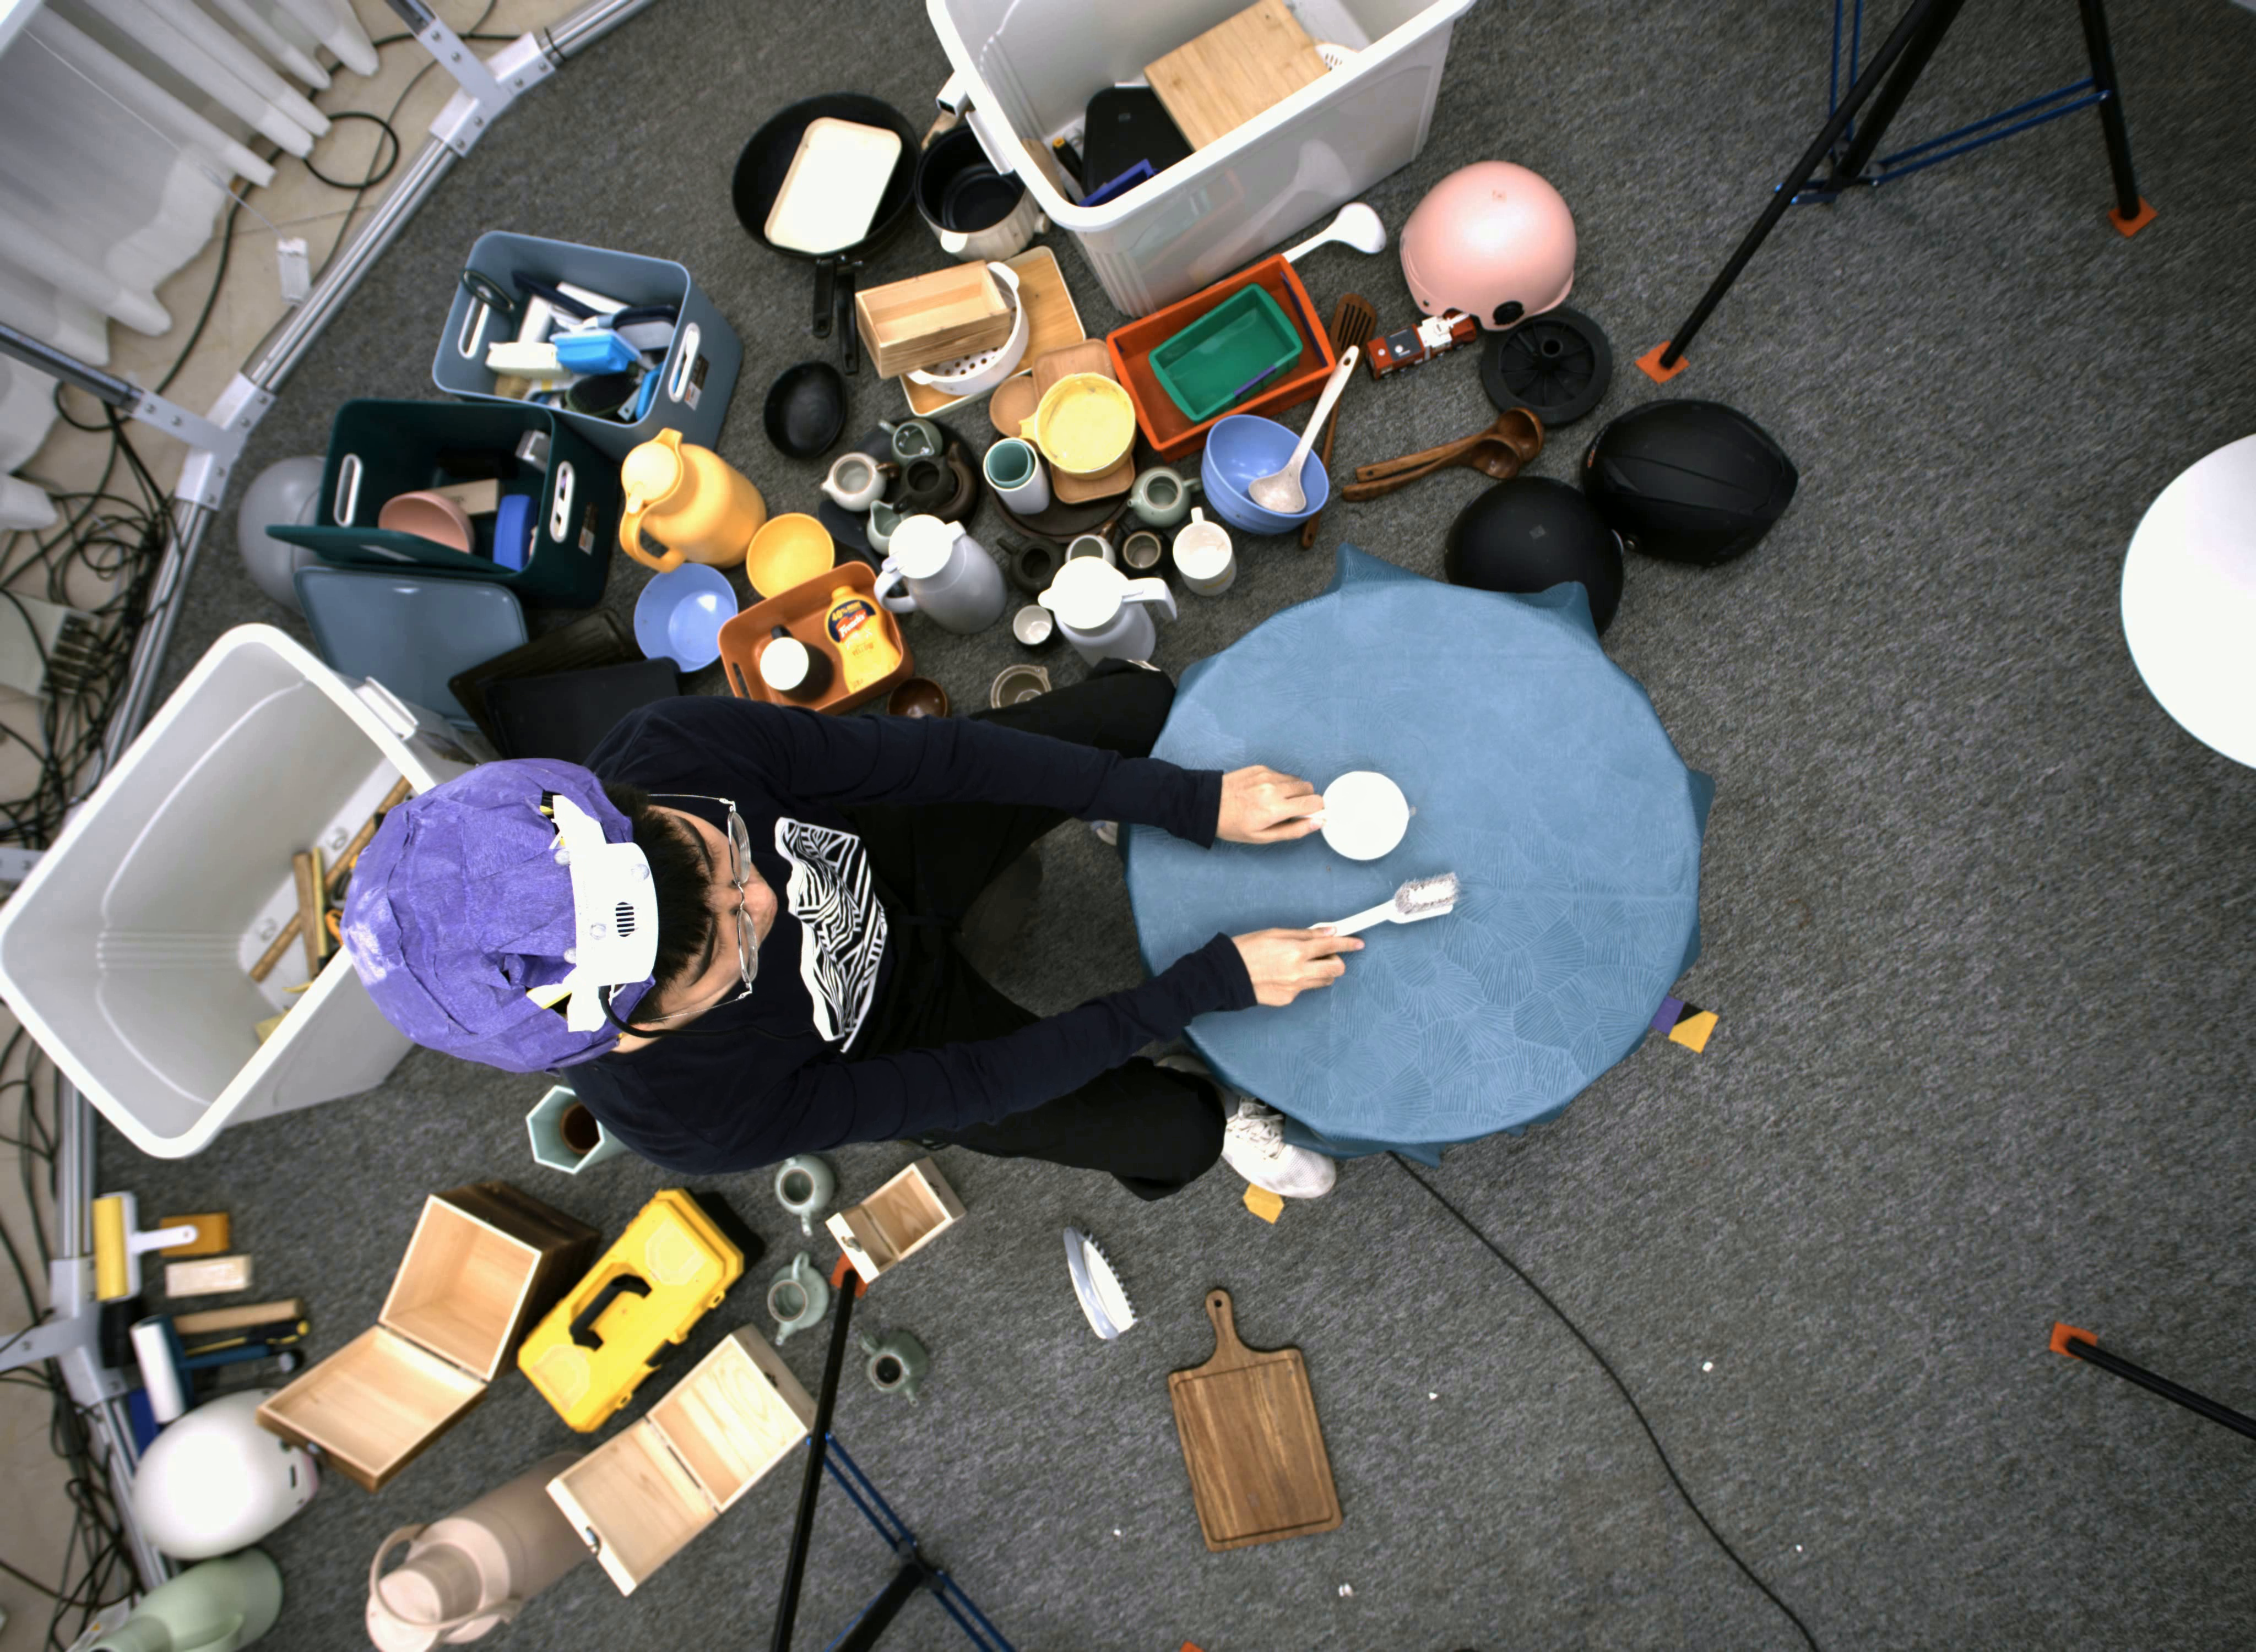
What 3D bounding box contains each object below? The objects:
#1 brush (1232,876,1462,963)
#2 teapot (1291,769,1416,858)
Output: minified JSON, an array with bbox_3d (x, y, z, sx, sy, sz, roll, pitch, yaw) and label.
[{"bbox_3d":[0.224,0.097,1.428,0.244,0.050,0.034,-16,76,6],"label":"brush"},{"bbox_3d":[0.235,-0.013,1.440,0.128,0.056,0.093,-6,89,7],"label":"teapot"}]
